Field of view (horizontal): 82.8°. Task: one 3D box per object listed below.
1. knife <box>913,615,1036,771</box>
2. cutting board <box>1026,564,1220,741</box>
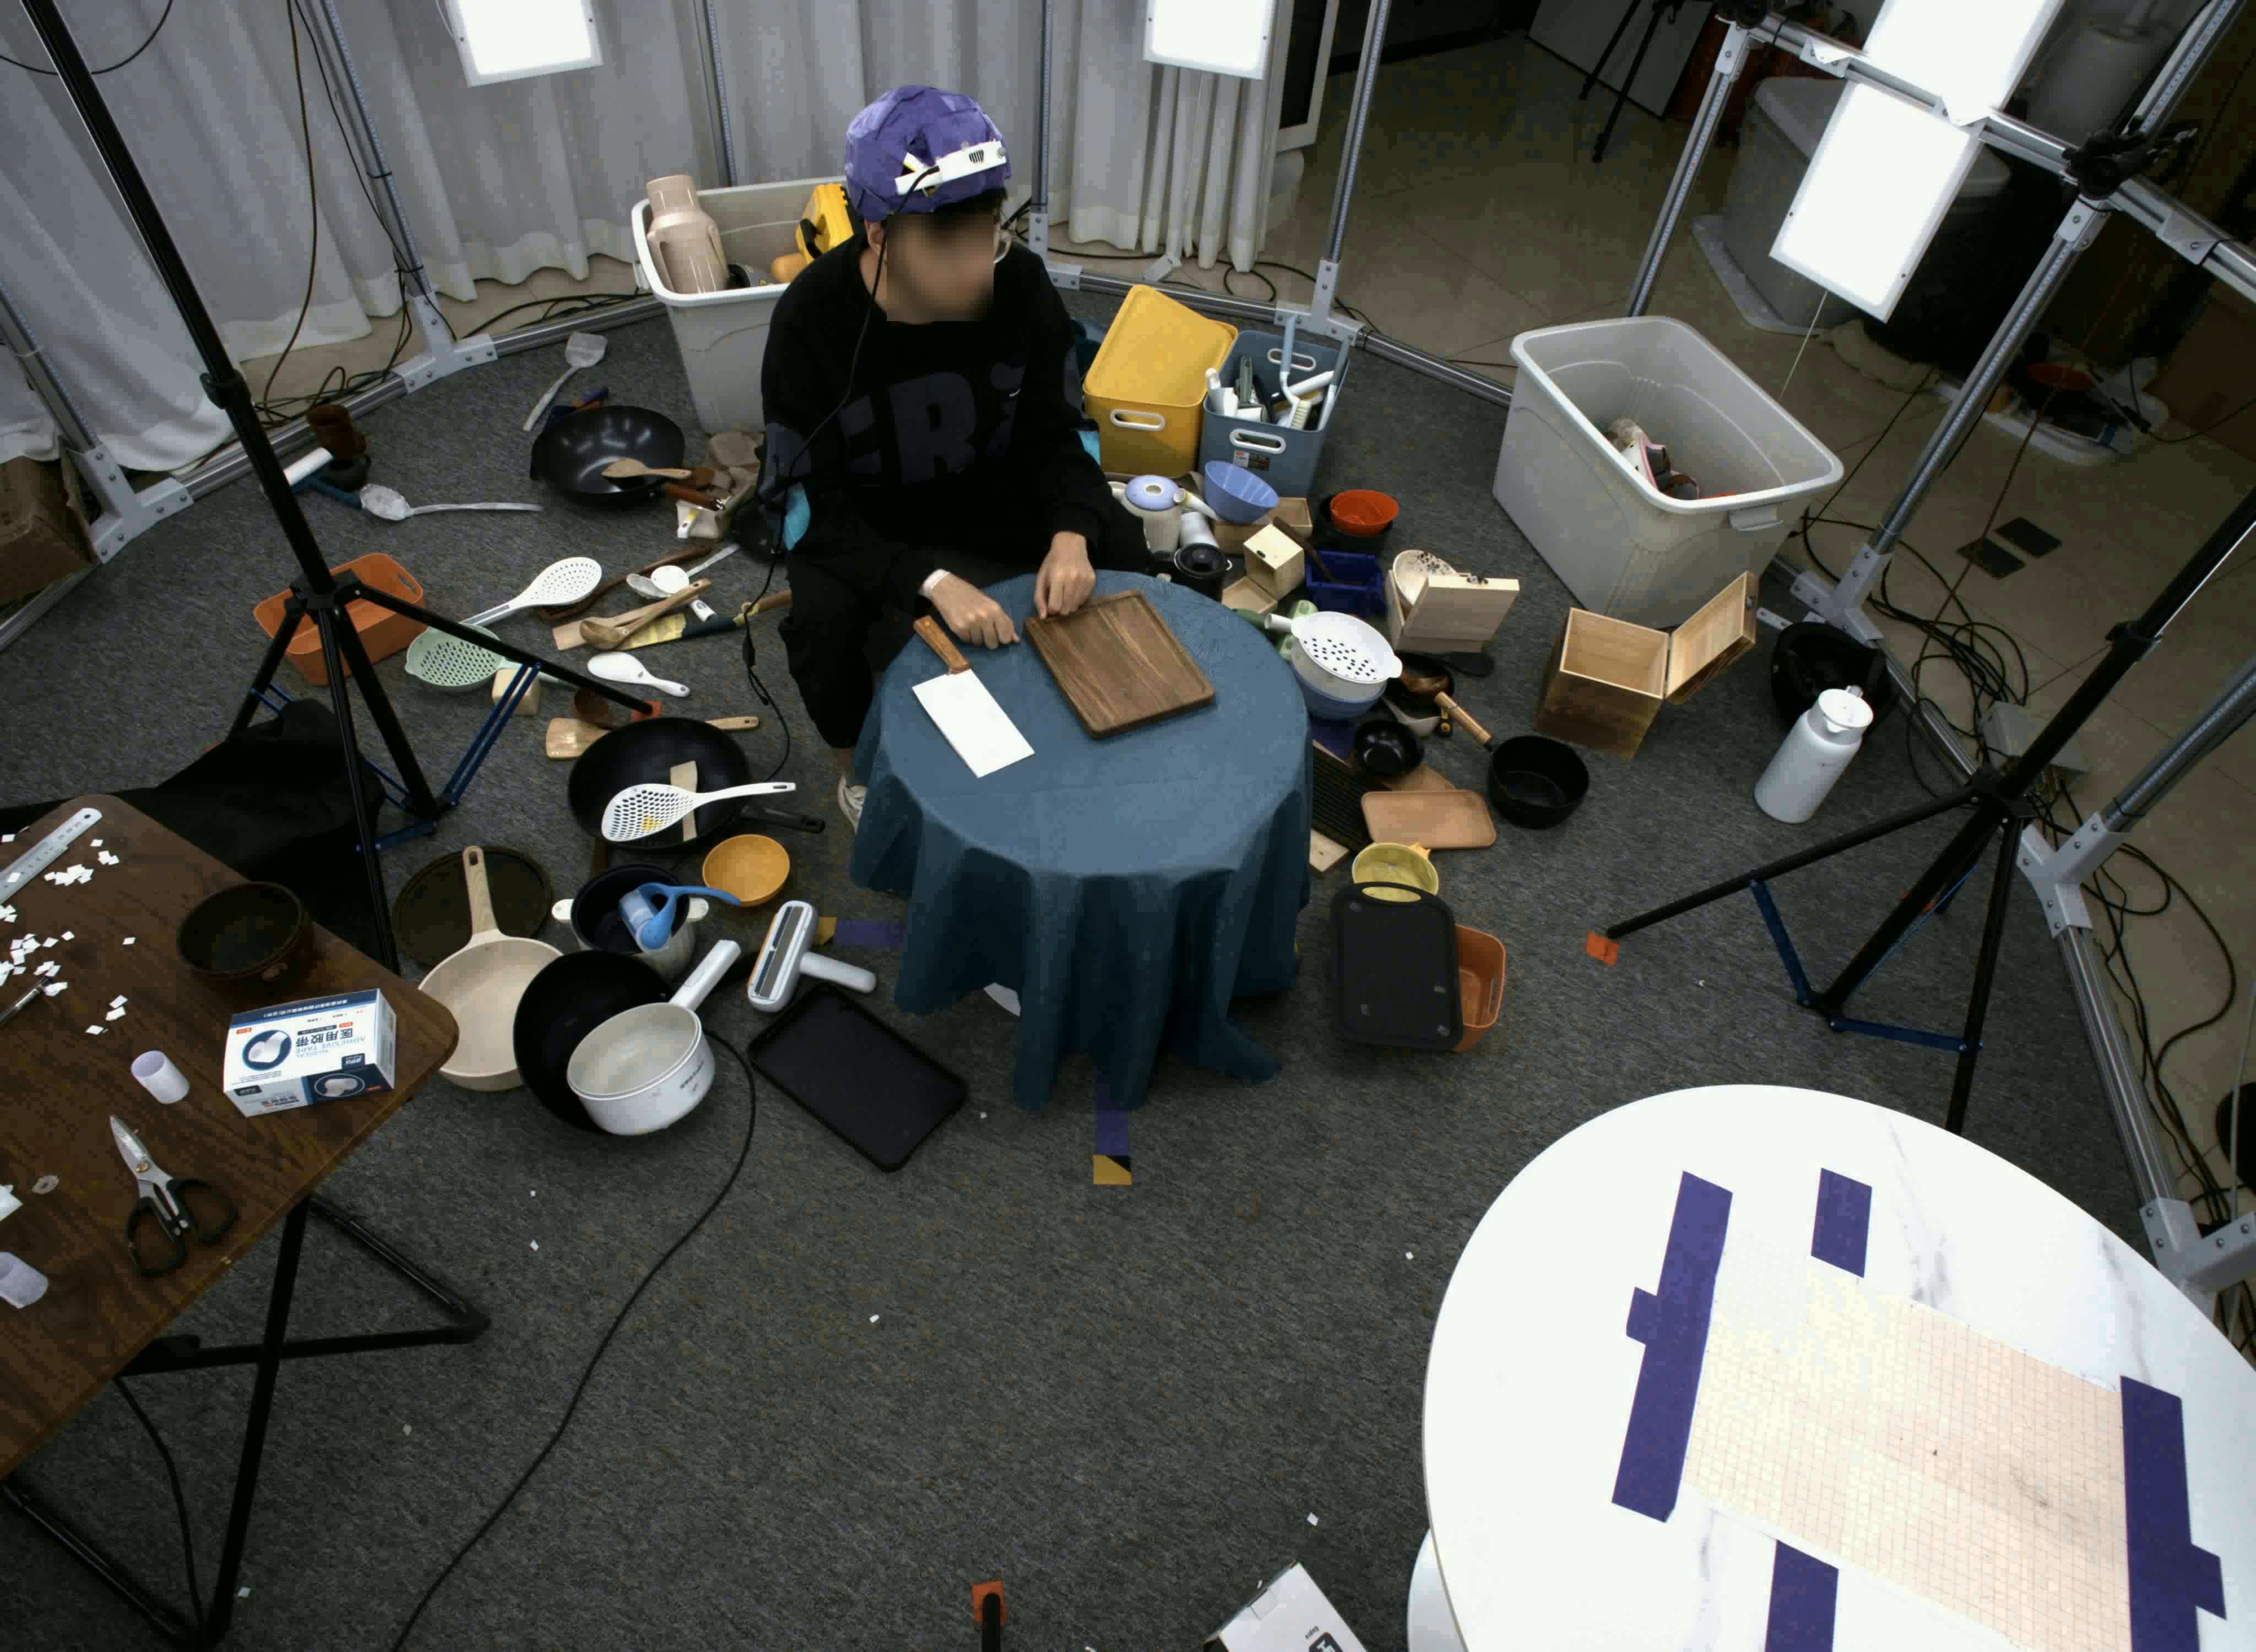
[{"bbox_3d":[-0.240,-0.187,1.805,0.093,0.020,0.312,-25,57,-21],"label":"knife"},{"bbox_3d":[-0.032,-0.274,1.891,0.201,0.022,0.360,-19,53,-19],"label":"cutting board"}]
